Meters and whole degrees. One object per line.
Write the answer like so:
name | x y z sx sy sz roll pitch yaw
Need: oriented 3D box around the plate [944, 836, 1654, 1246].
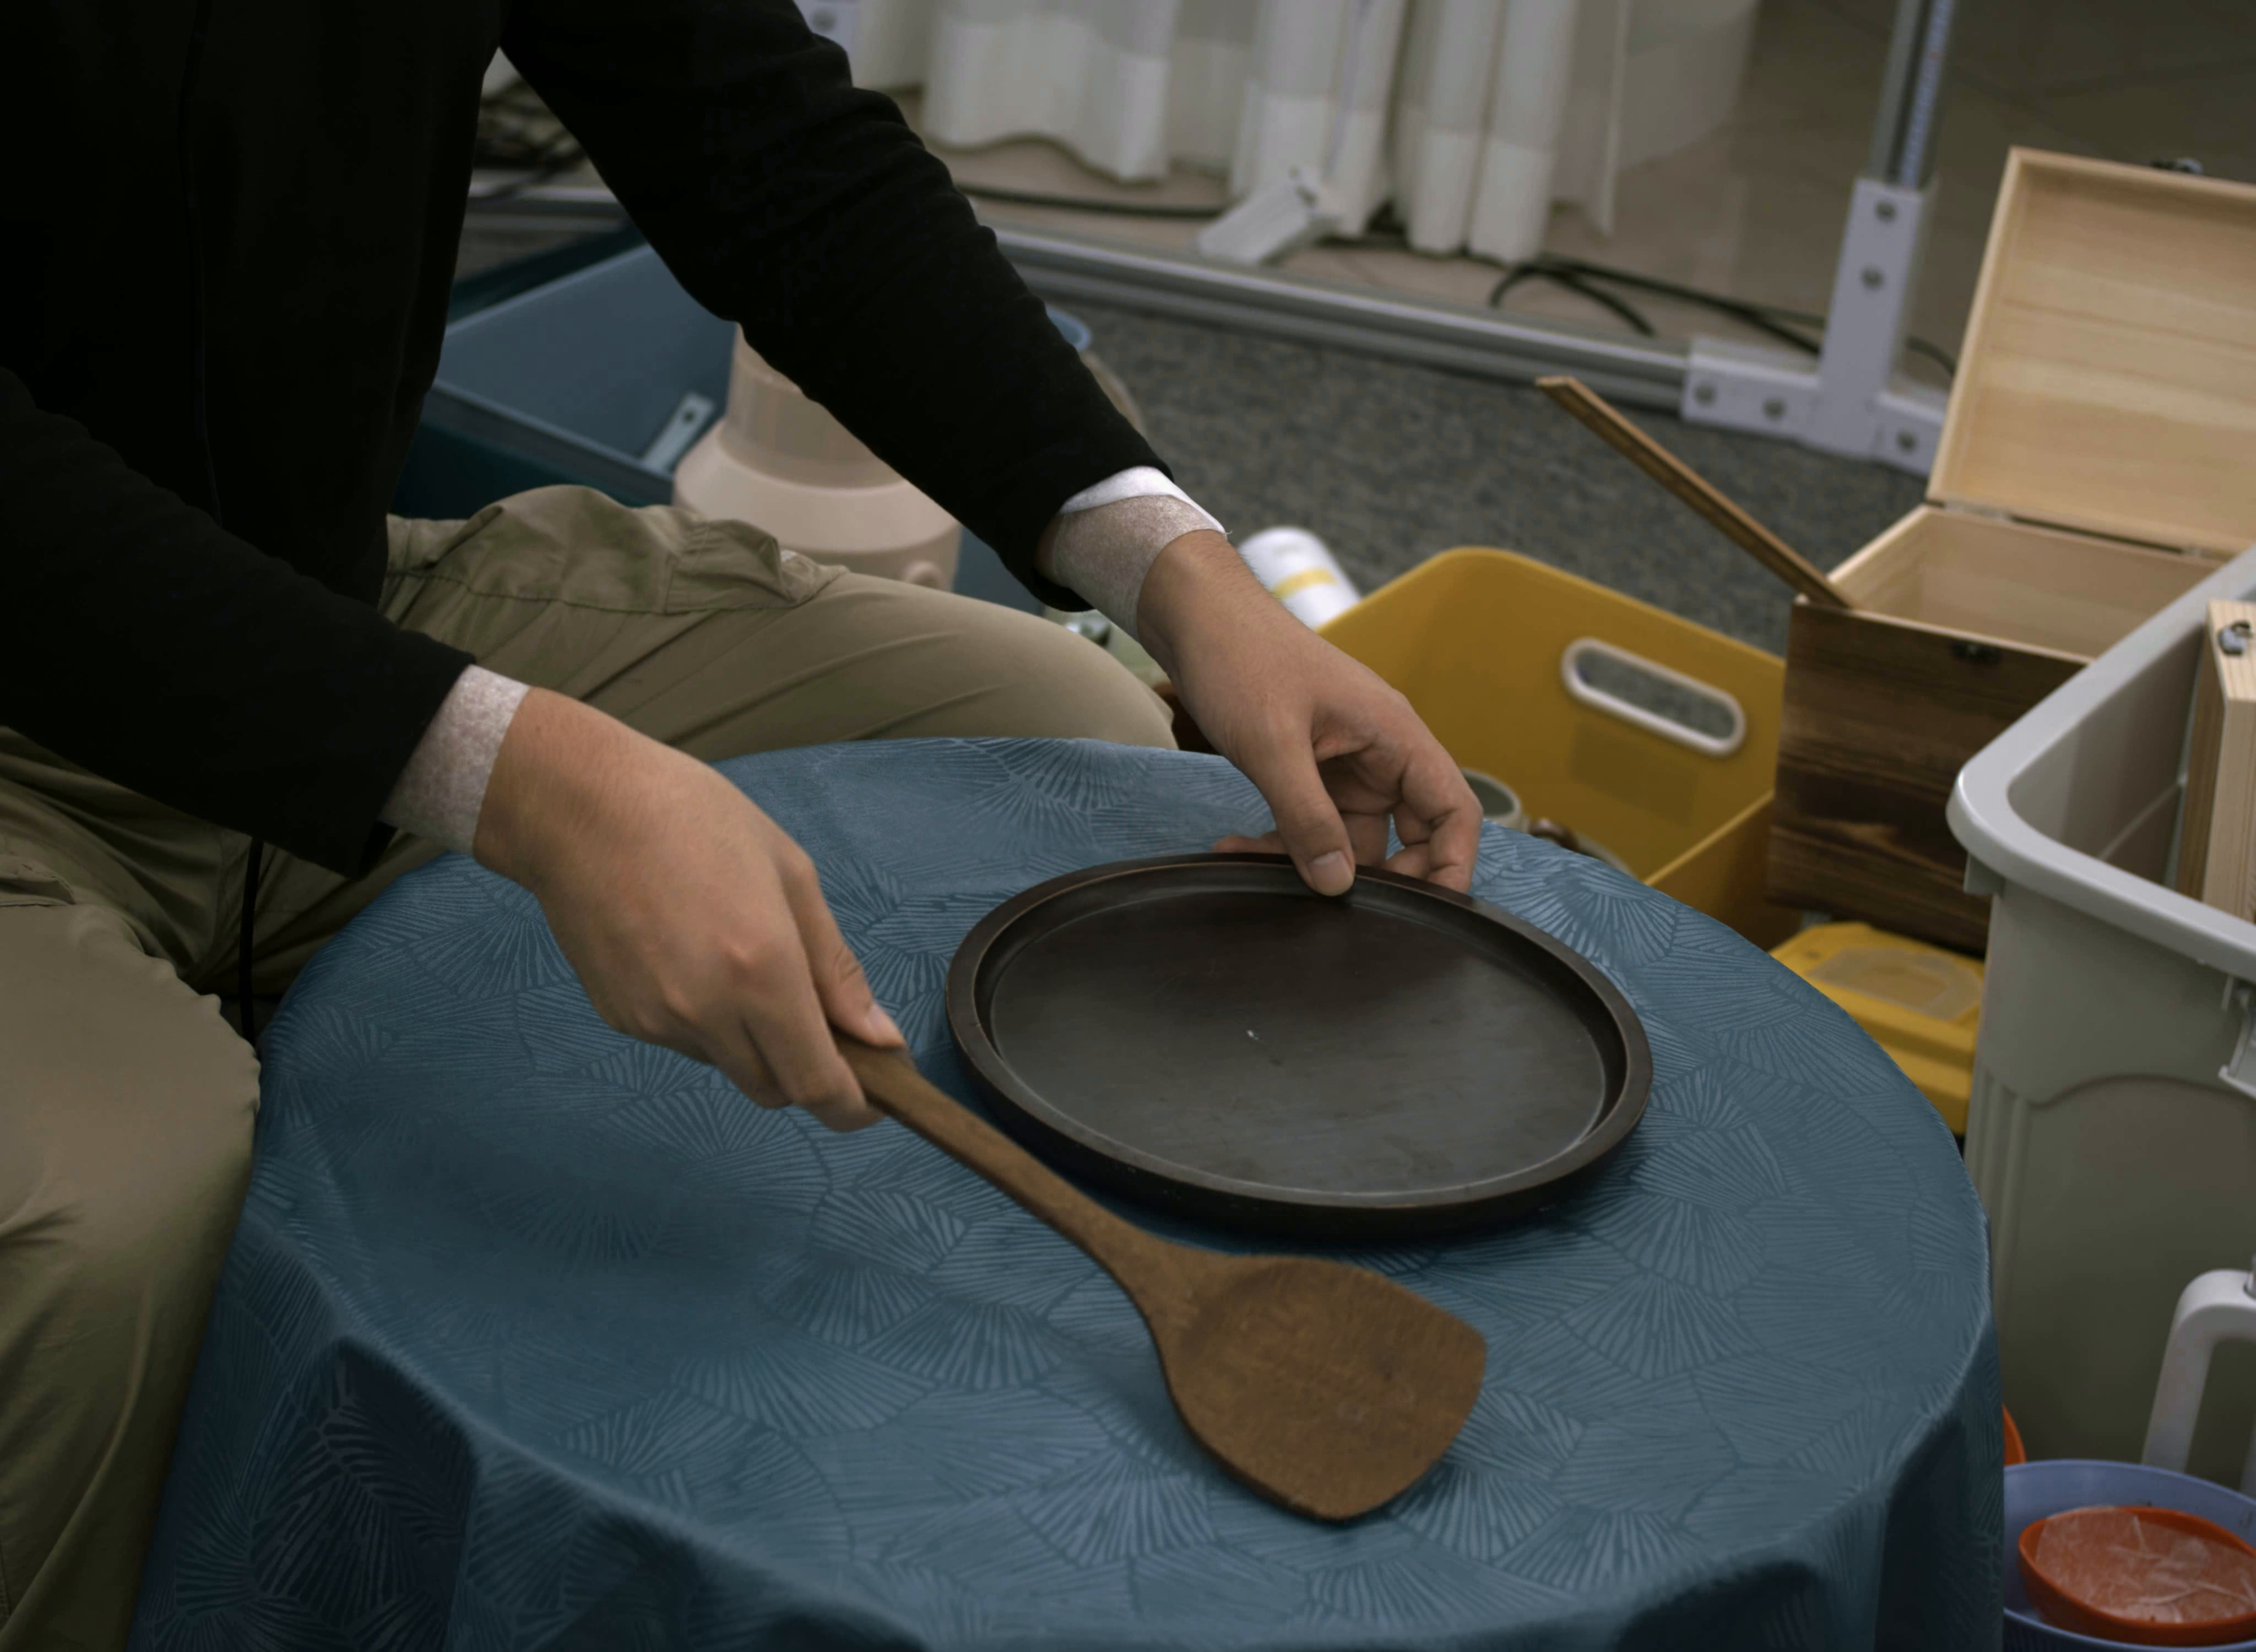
plate | 0.060 0.077 1.880 0.254 0.029 0.256 4 28 -2

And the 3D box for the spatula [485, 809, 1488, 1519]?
spatula | -0.057 0.097 1.716 0.387 0.016 0.096 33 54 17
